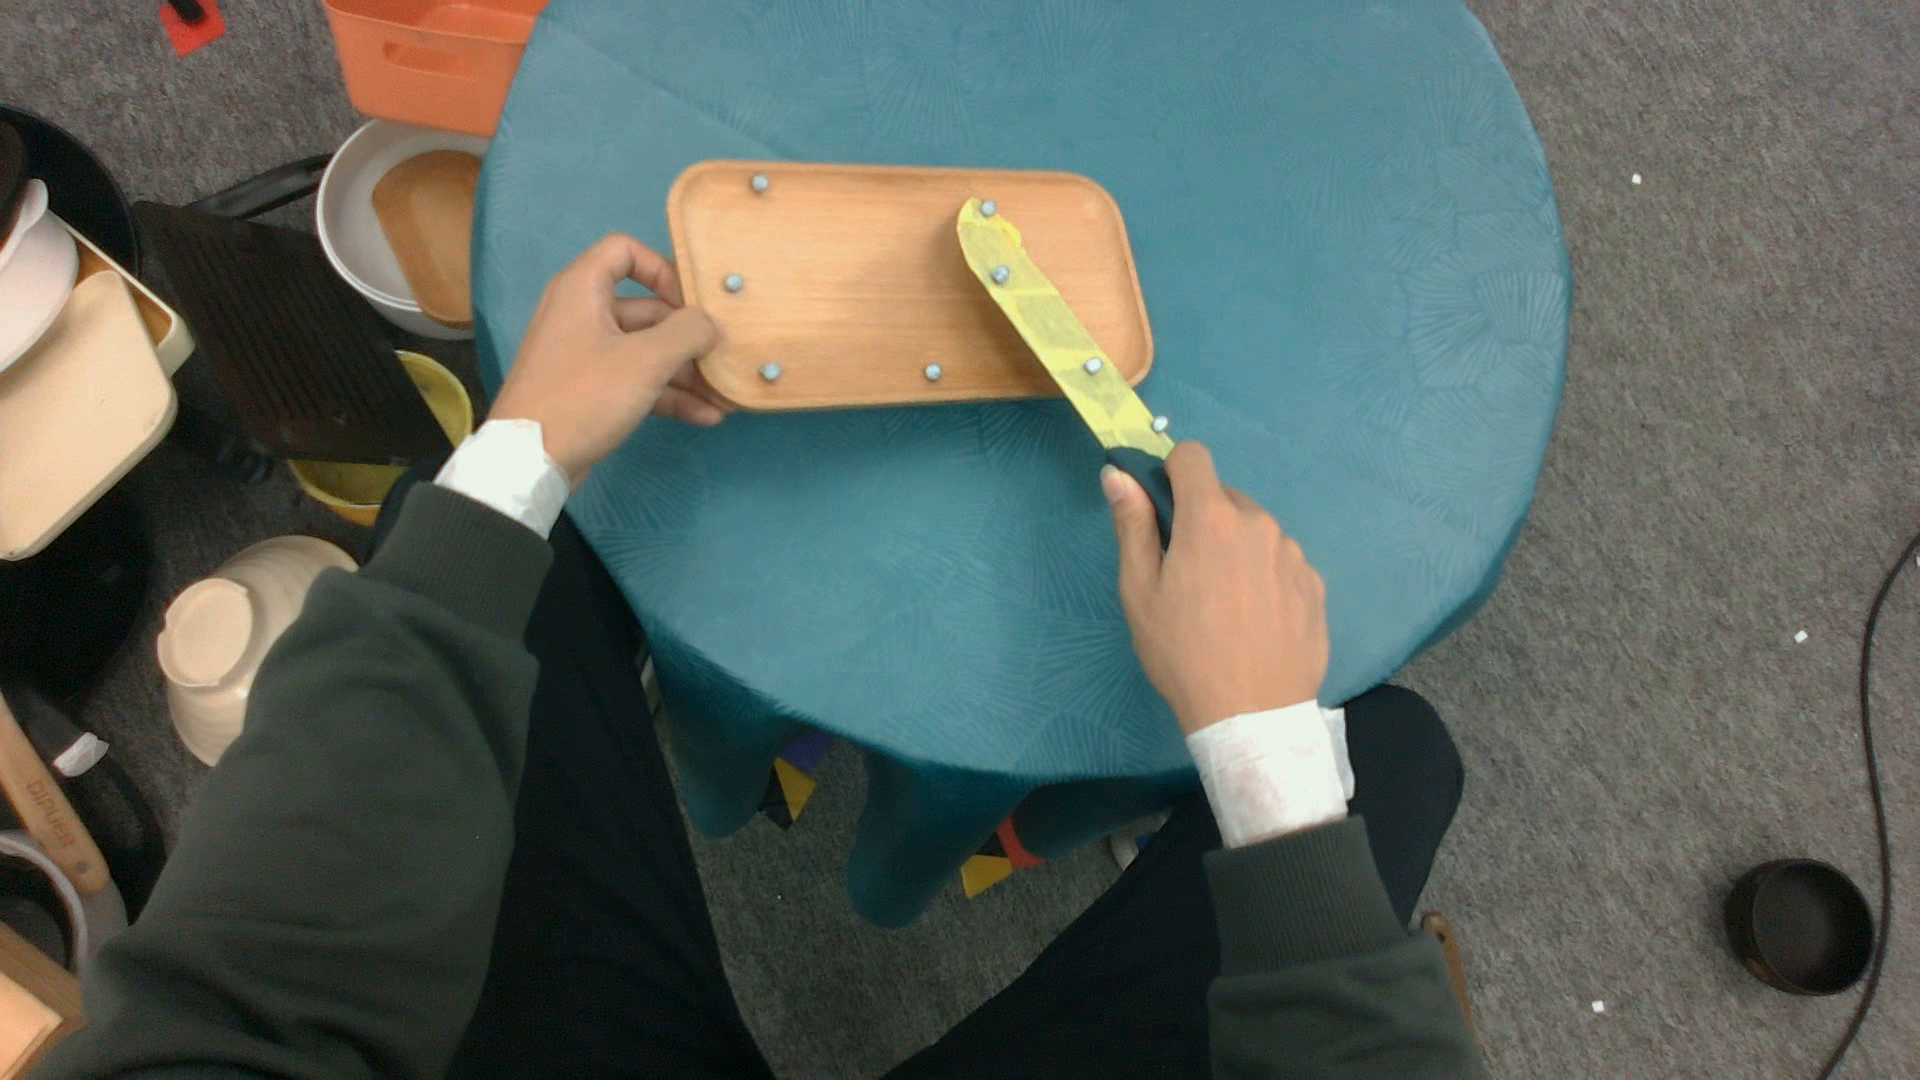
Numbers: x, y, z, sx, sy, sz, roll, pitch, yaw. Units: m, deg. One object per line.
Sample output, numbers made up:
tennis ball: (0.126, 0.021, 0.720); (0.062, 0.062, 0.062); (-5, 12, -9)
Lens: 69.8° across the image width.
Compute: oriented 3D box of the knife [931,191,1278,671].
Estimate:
knife: (0.069, -0.061, 0.678); (0.290, 0.027, 0.081); (57, 32, 11)

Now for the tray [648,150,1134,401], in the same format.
tray: (-0.029, -0.135, 0.696); (0.251, 0.023, 0.131); (-6, 78, -28)
